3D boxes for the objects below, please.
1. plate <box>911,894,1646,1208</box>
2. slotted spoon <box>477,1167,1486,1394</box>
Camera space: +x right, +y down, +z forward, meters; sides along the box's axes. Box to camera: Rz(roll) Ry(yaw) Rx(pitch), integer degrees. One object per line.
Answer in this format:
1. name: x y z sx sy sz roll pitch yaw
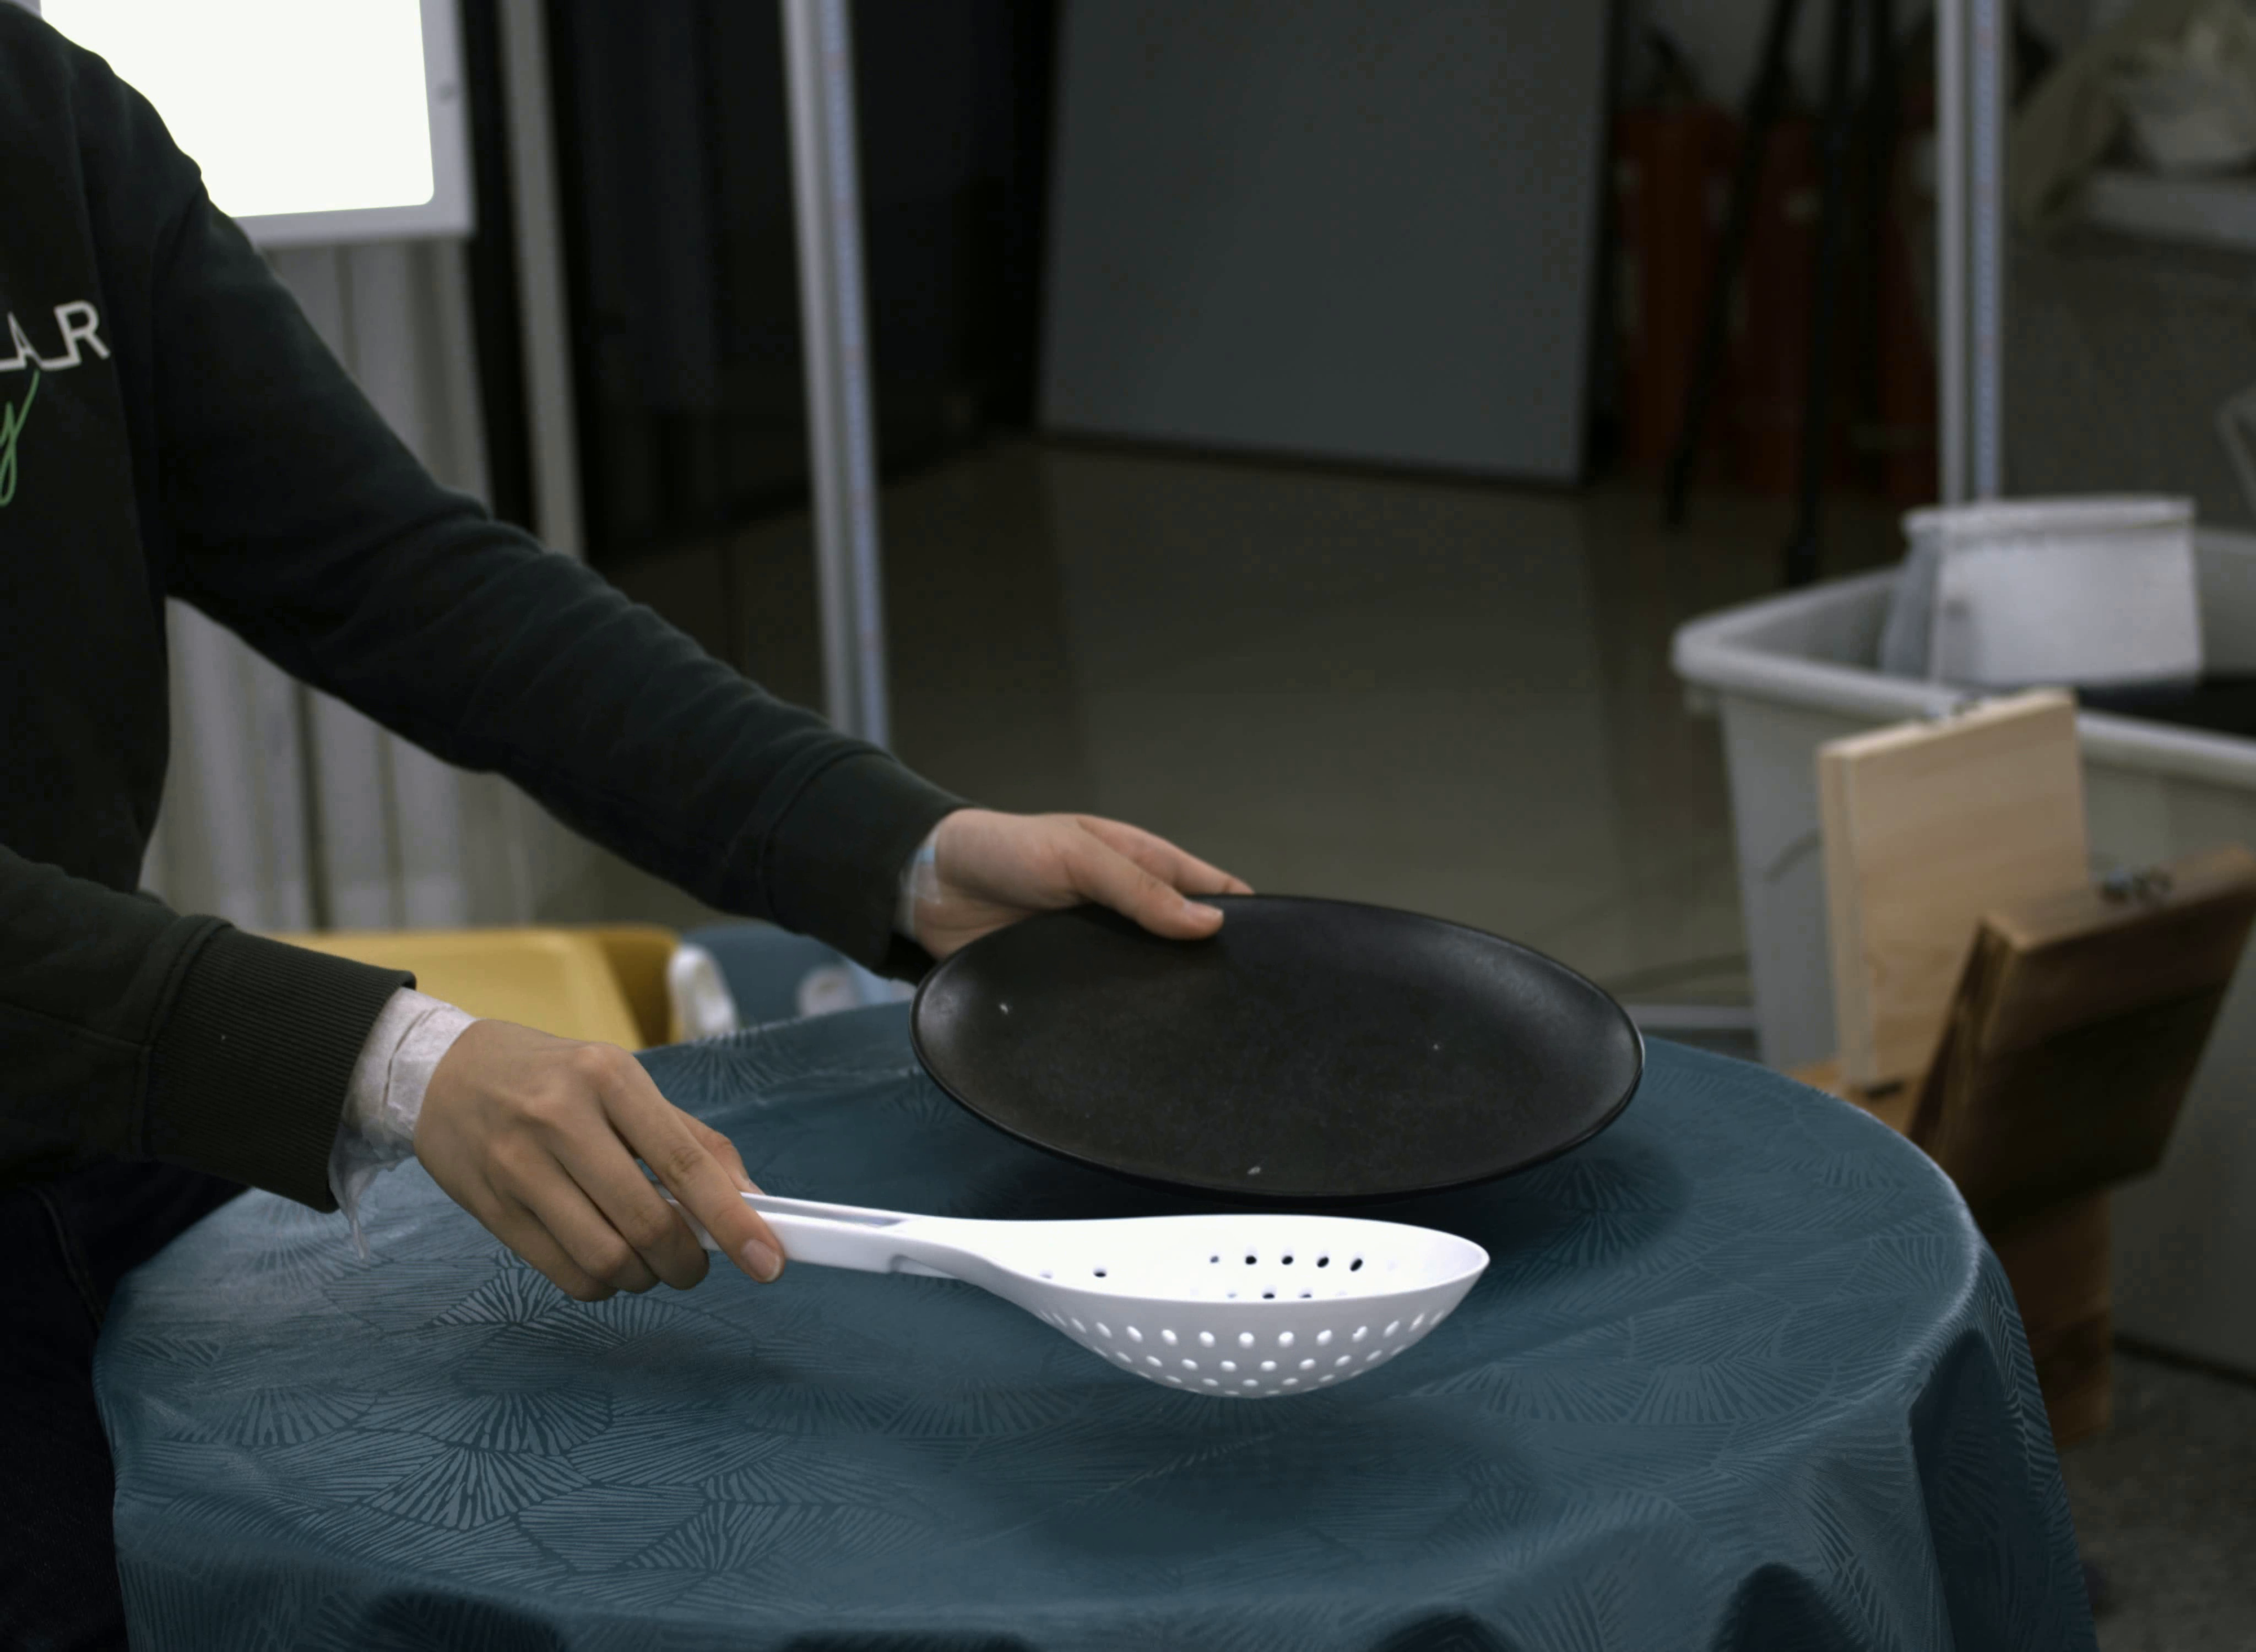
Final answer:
1. plate: 0.049 0.077 1.760 0.241 0.023 0.245 1 21 -1
2. slotted spoon: -0.054 0.122 1.583 0.352 0.046 0.133 9 9 35
